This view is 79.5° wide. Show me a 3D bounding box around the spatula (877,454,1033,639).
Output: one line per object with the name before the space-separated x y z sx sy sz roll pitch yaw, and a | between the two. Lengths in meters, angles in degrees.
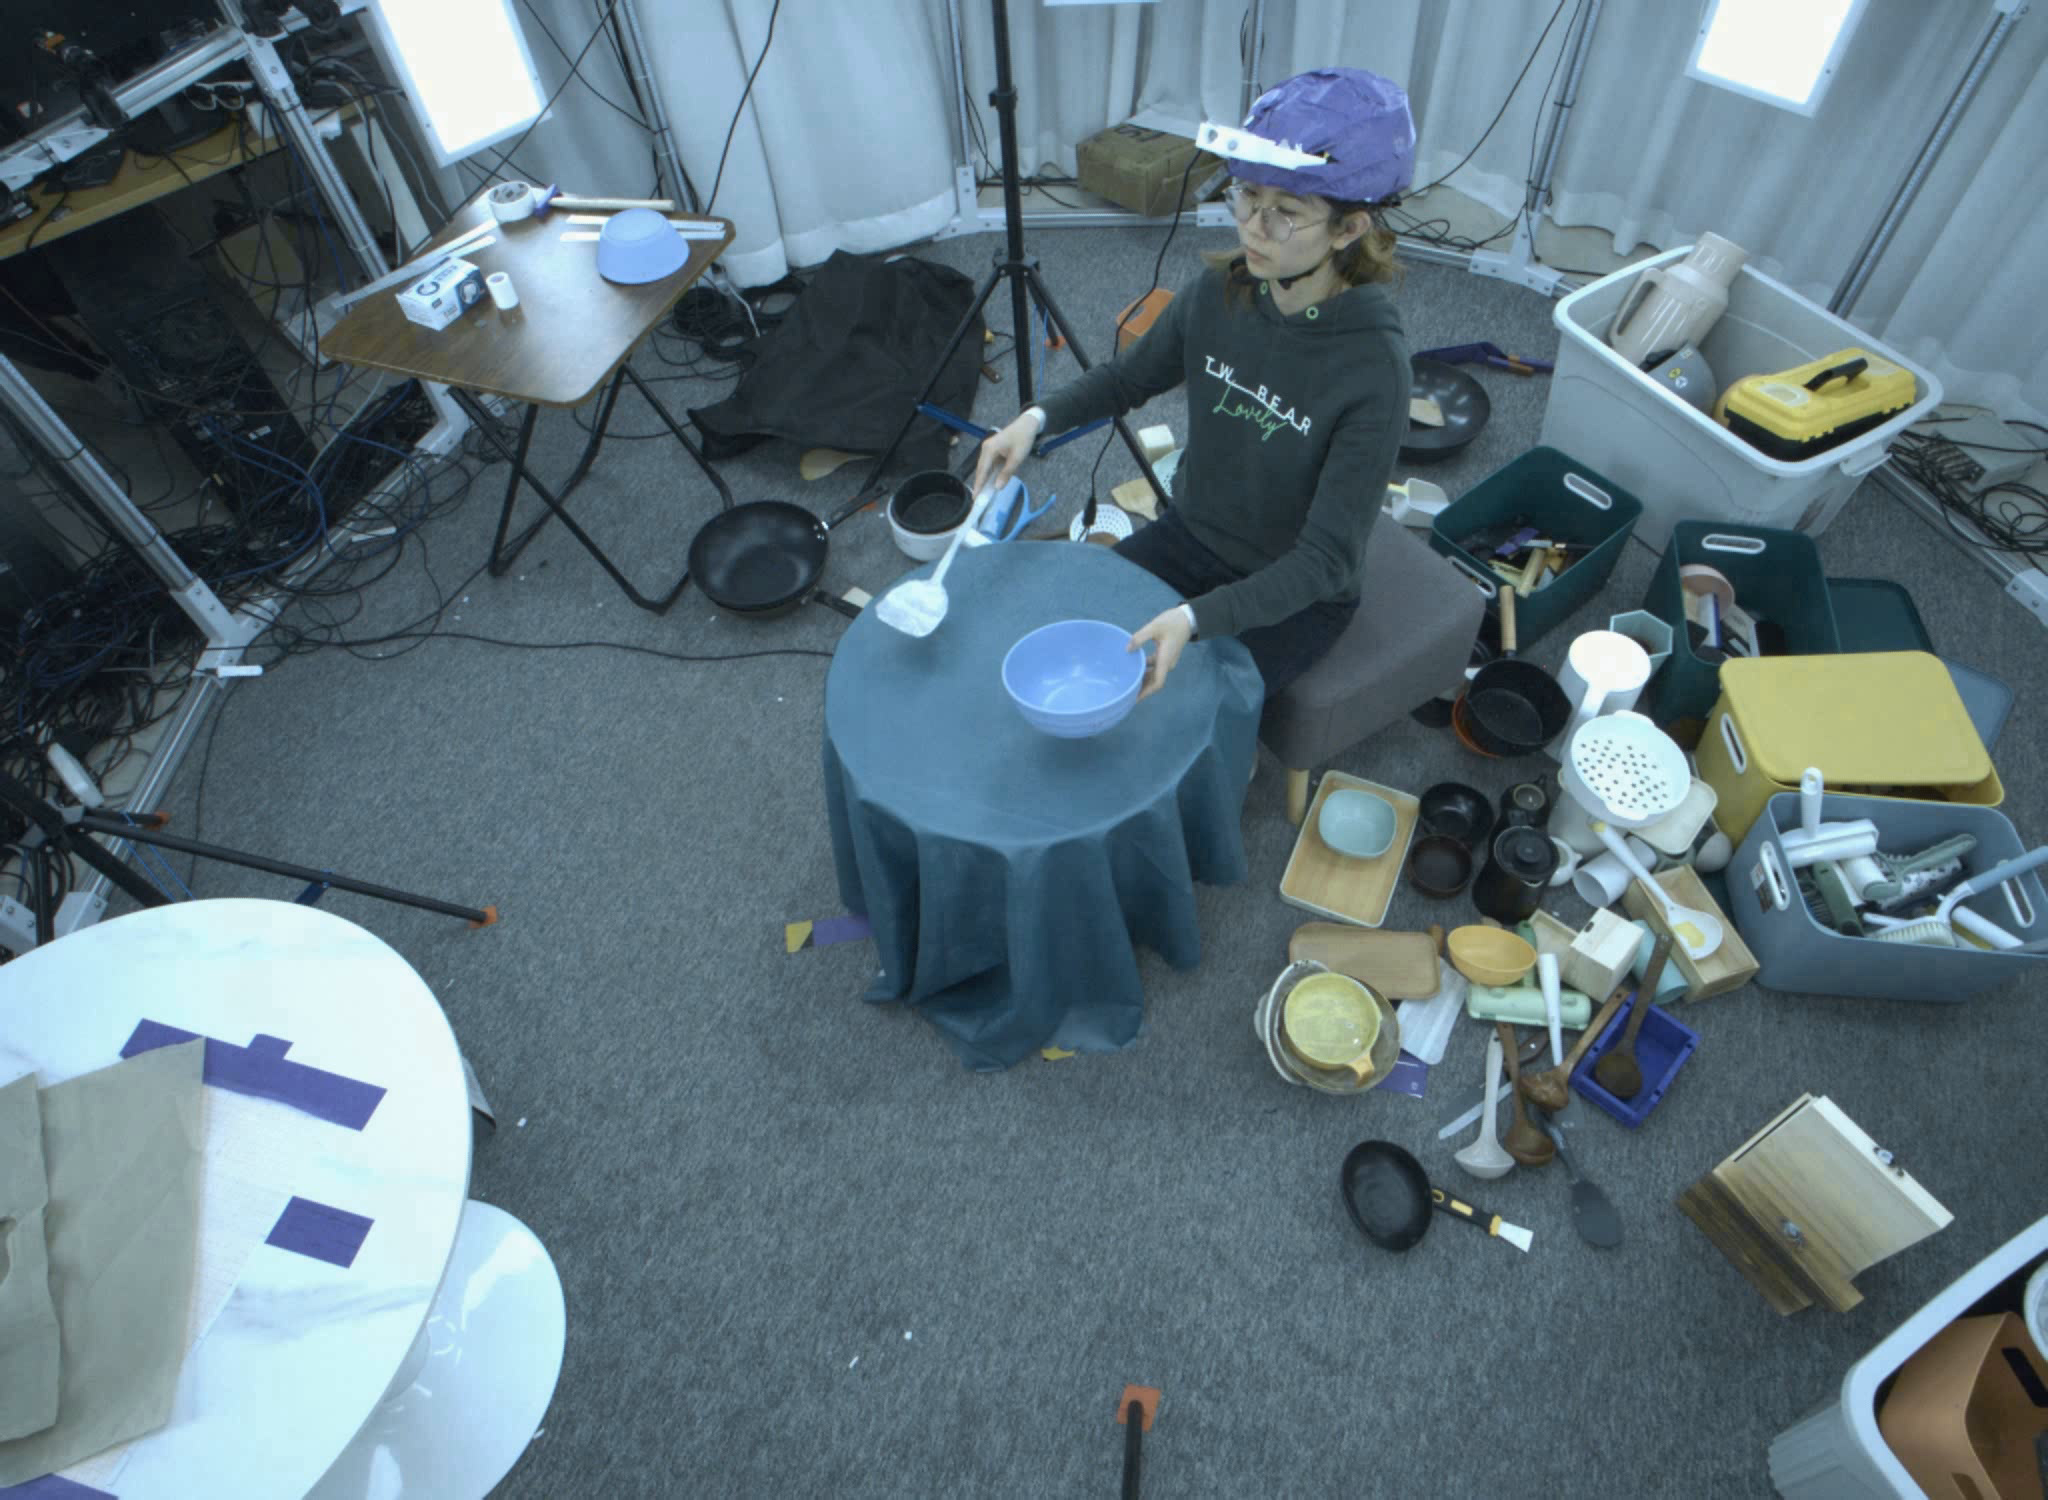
spatula | -0.094 -0.325 1.873 0.097 0.045 0.365 29 81 14

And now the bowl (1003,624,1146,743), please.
bowl | 0.075 -0.077 1.711 0.196 0.097 0.194 -4 46 5
